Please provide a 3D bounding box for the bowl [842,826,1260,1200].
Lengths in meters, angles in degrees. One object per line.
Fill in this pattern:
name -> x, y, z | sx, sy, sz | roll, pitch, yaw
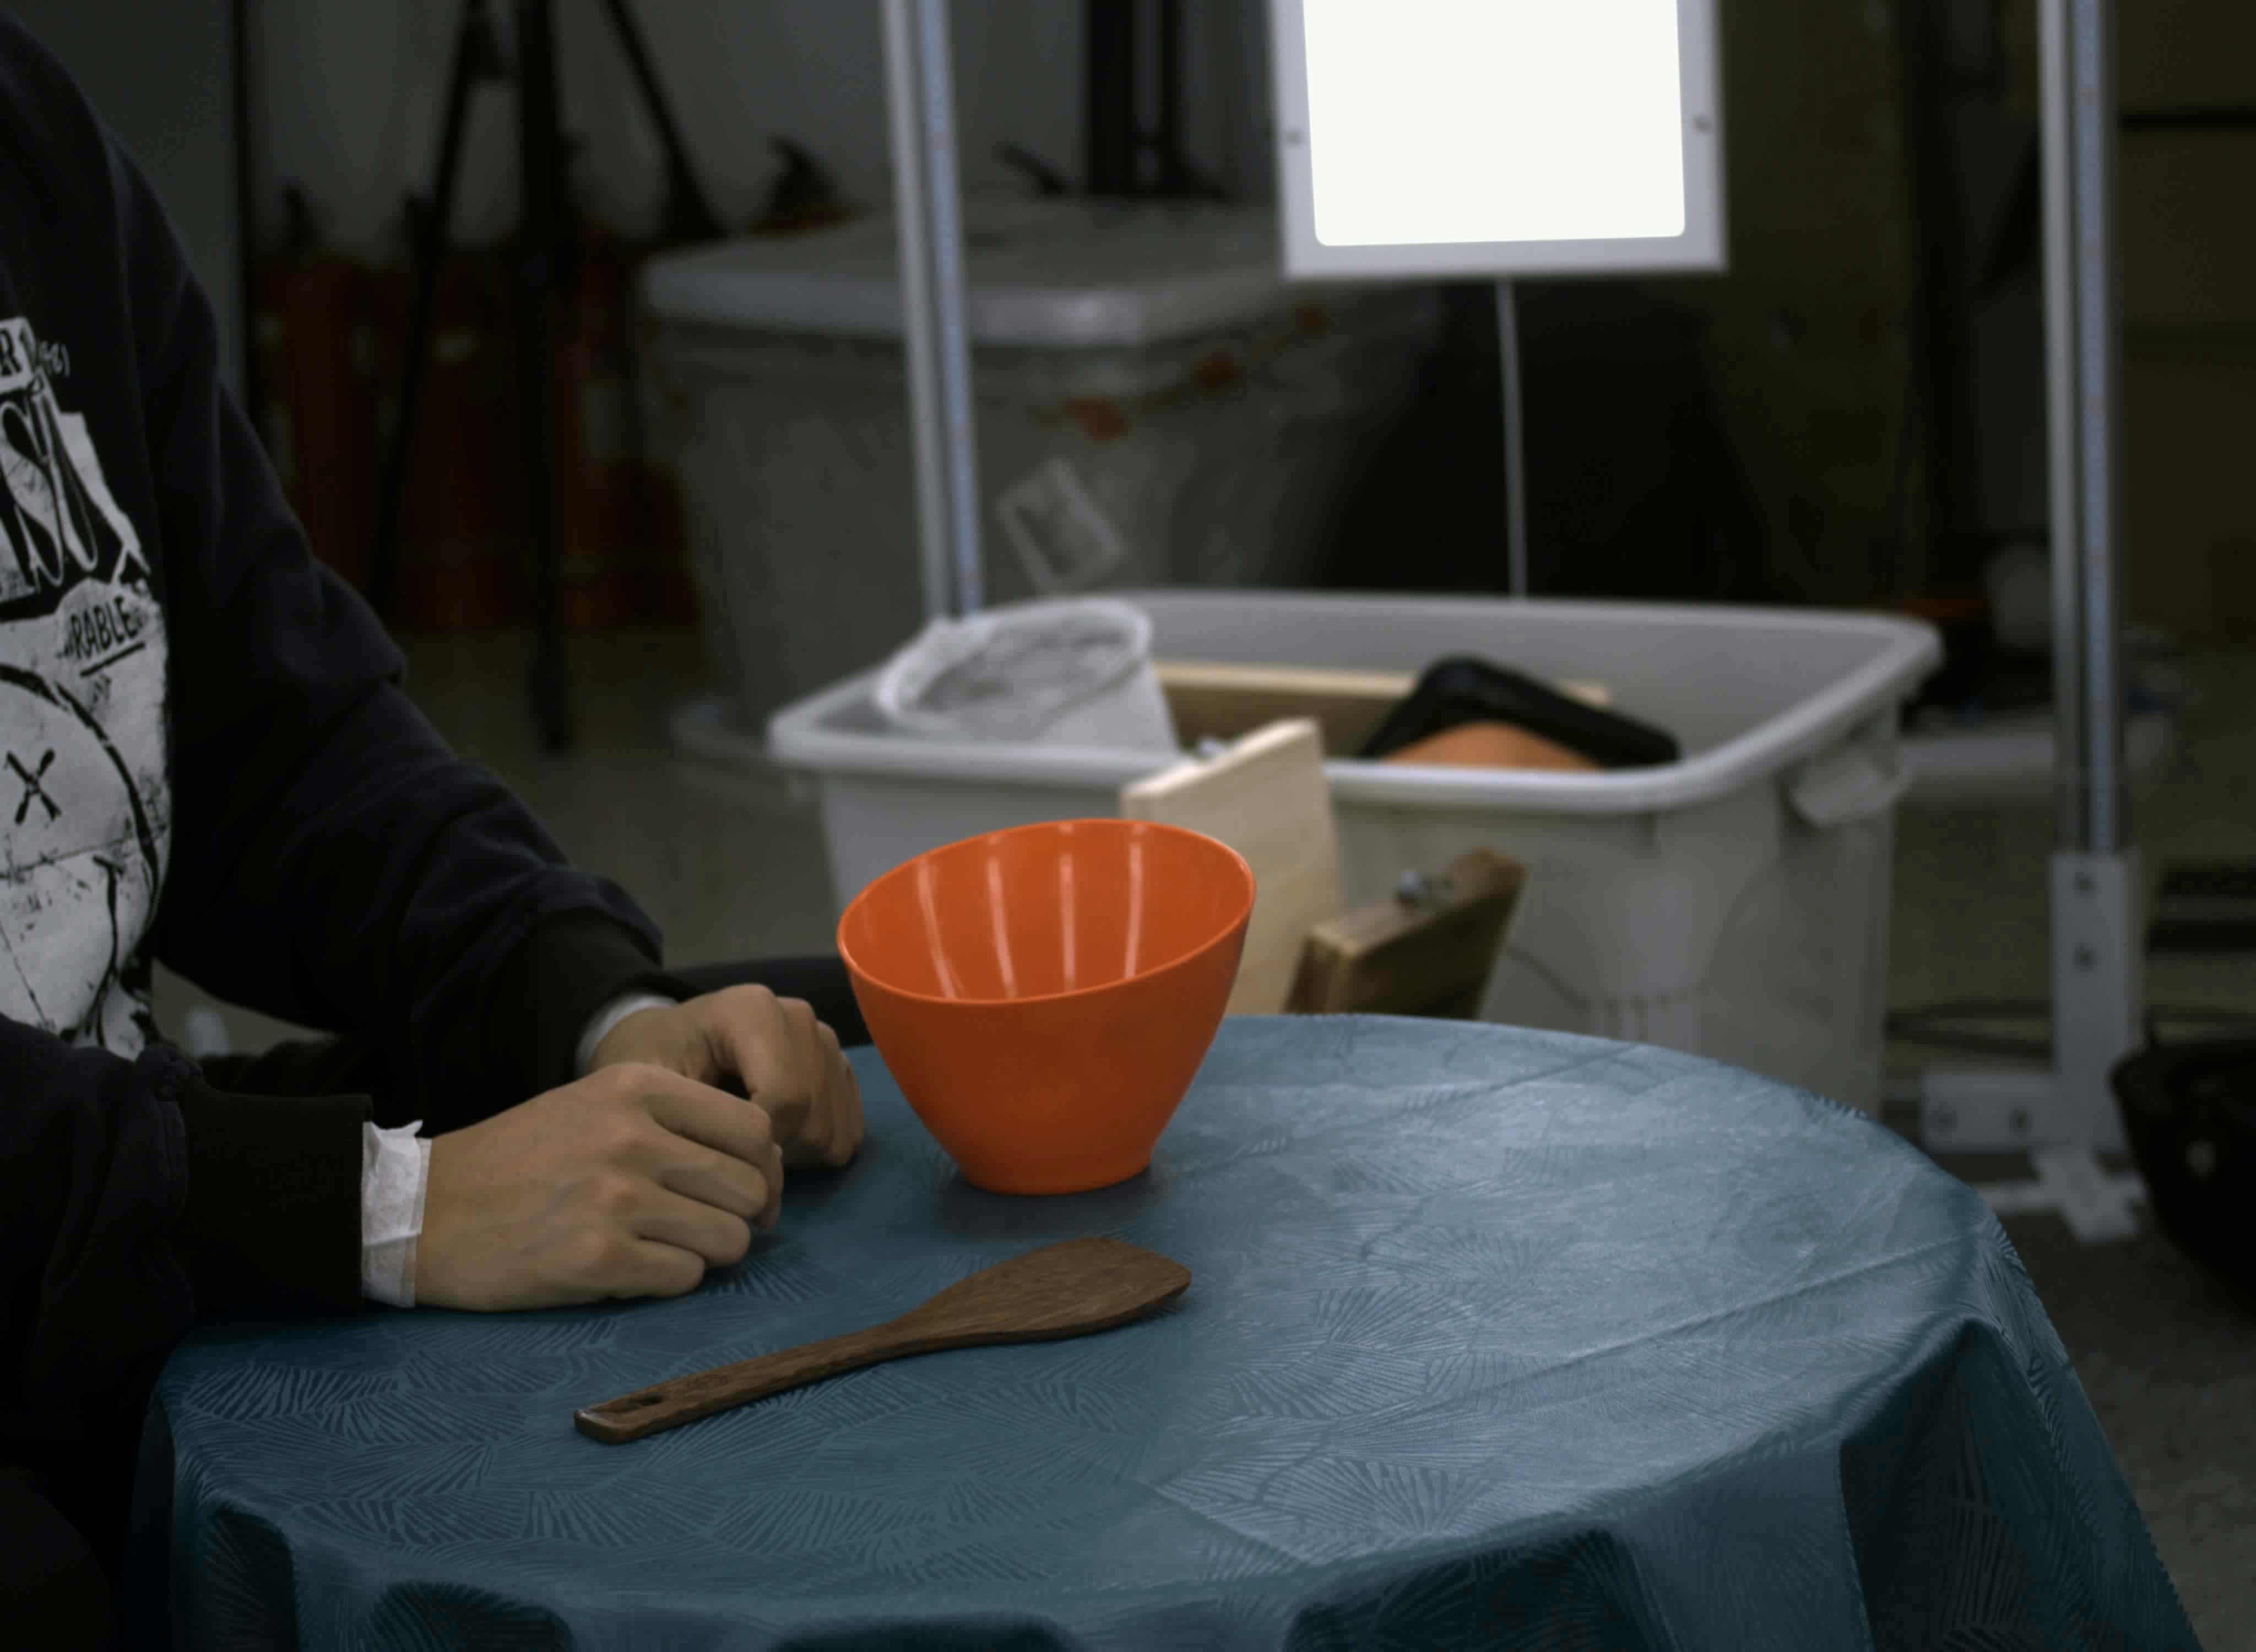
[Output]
bowl -> -0.025, 0.069, 1.930 | 0.147, 0.105, 0.148 | -4, 14, 0

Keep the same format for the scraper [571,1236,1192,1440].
scraper -> -0.080, 0.165, 1.754 | 0.206, 0.011, 0.077 | -14, 15, -29
